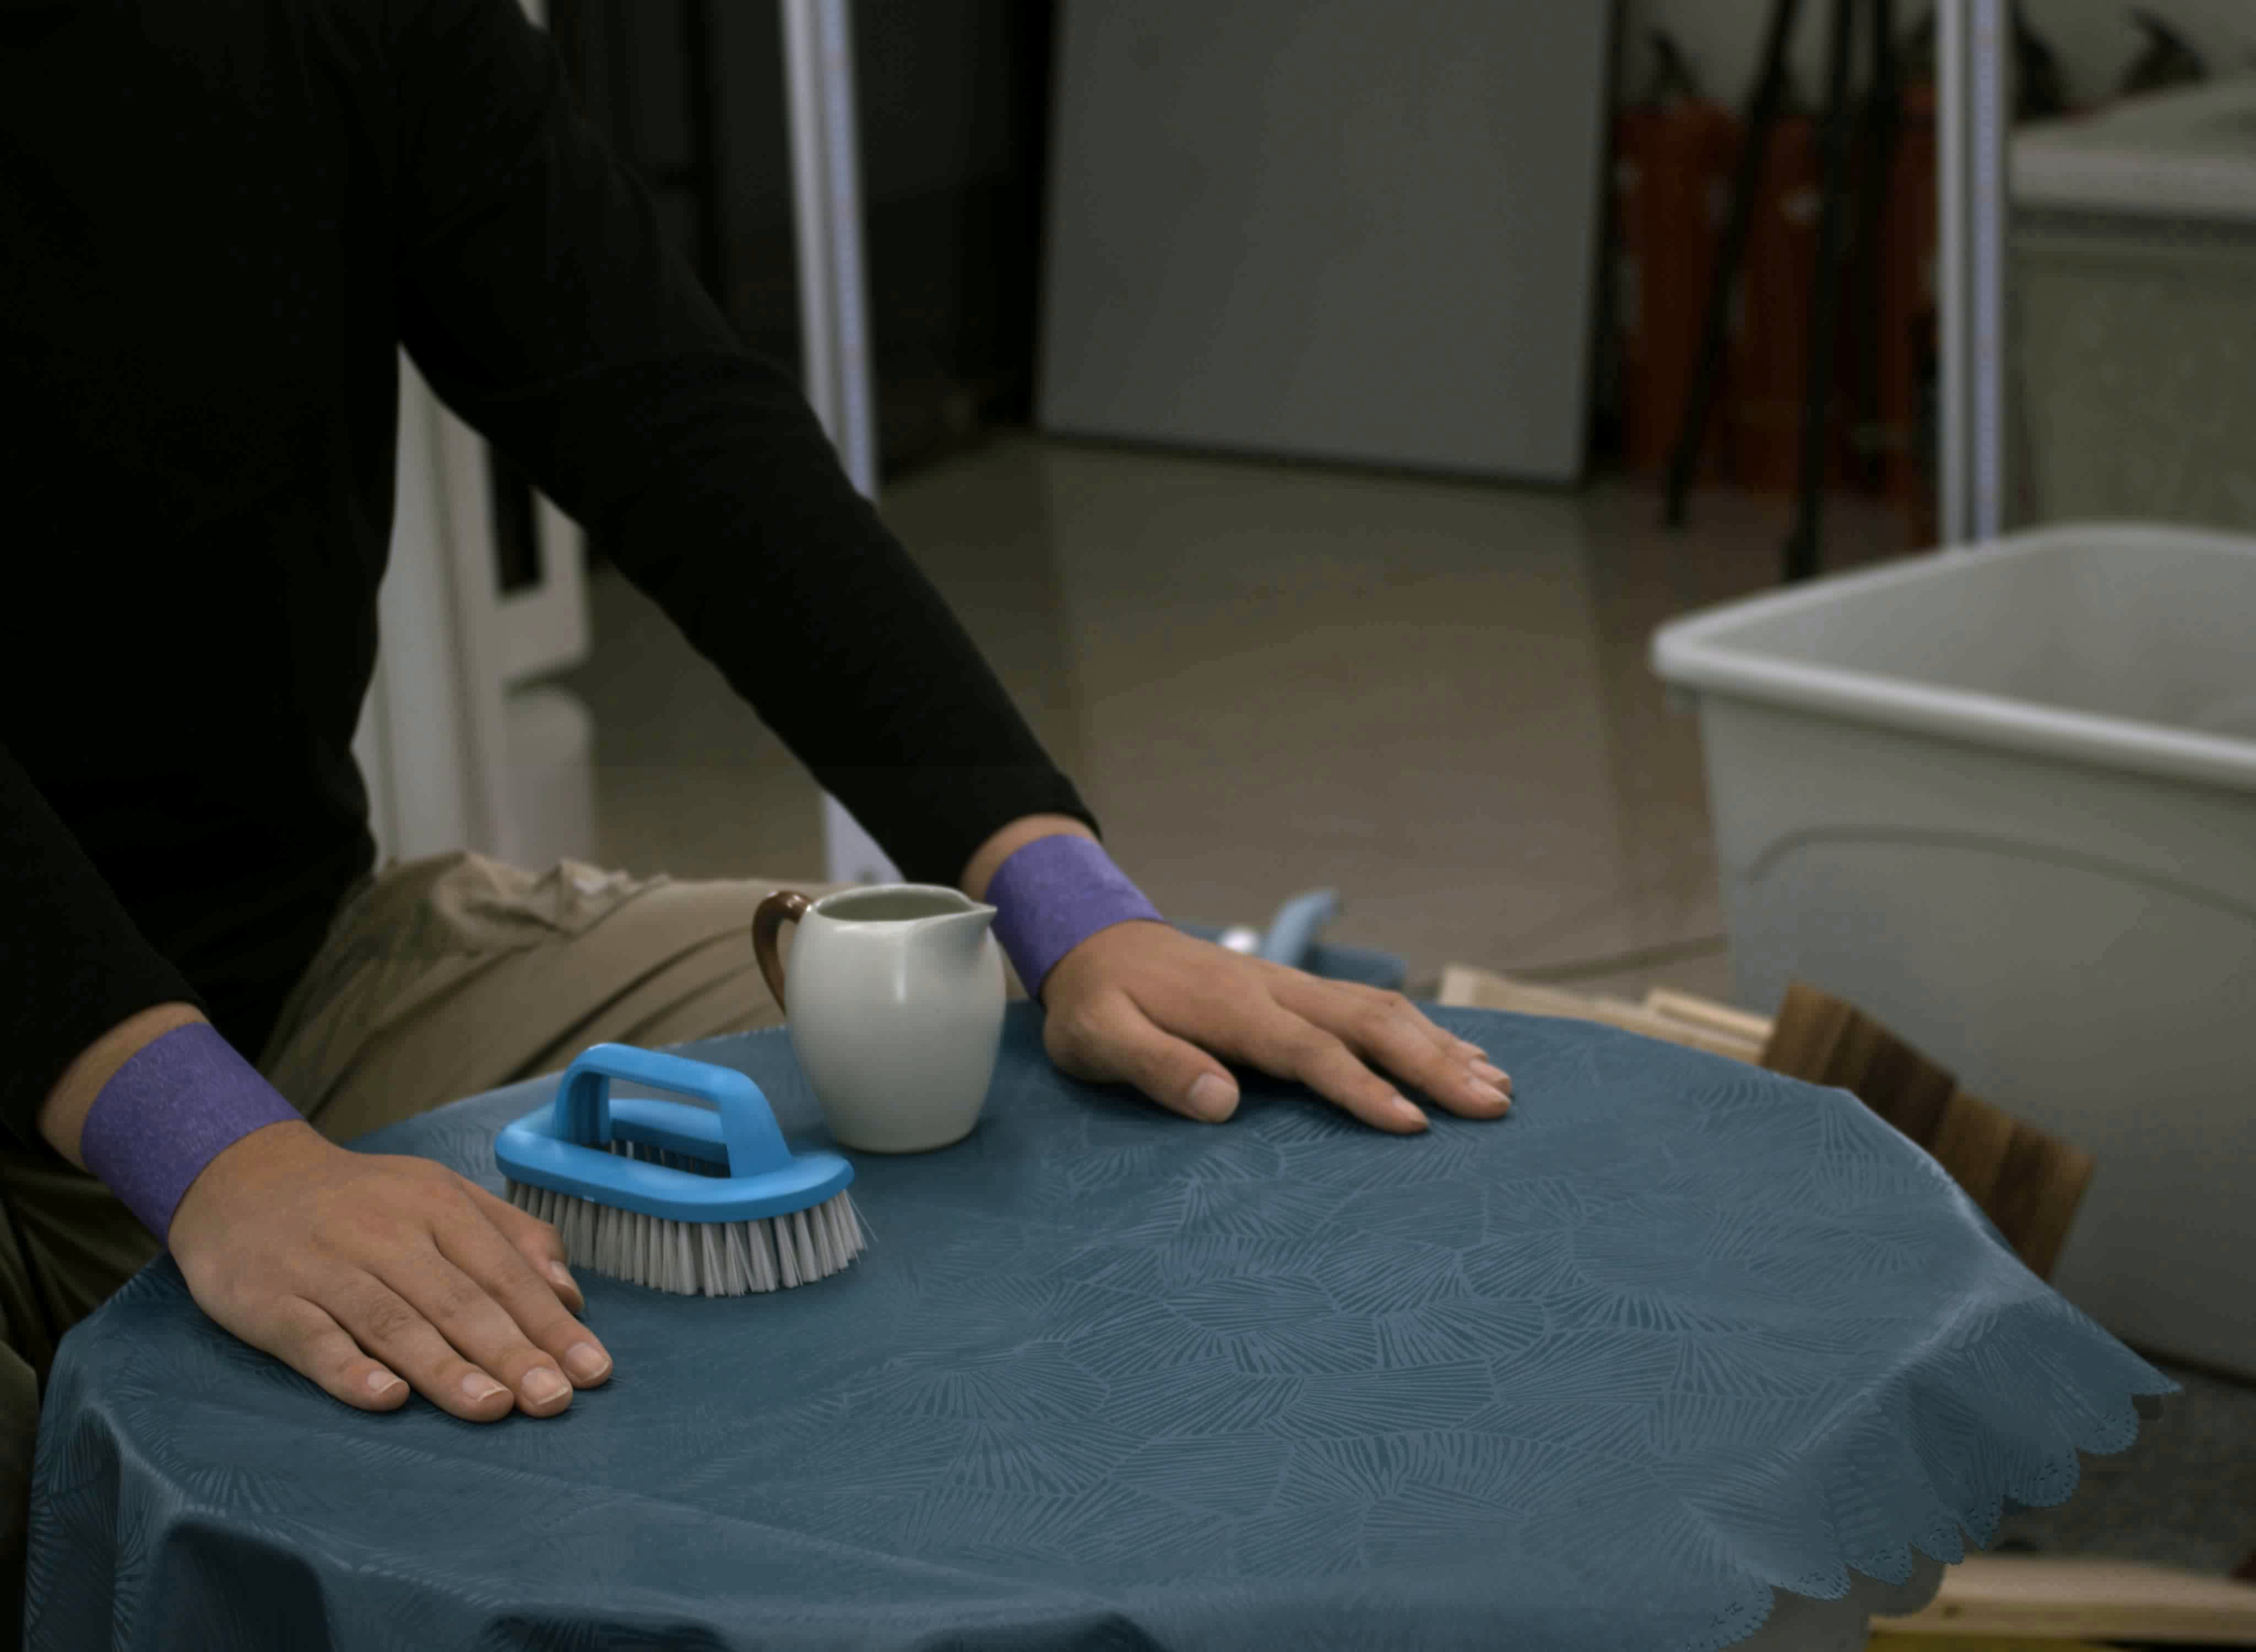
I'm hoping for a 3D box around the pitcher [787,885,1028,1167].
[{"bbox_3d":[-0.077,0.066,1.834,0.074,0.089,0.120,-8,16,-42],"label":"pitcher"}]

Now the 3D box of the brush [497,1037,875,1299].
[{"bbox_3d":[-0.146,0.103,1.744,0.083,0.064,0.143,-22,21,-41],"label":"brush"}]
